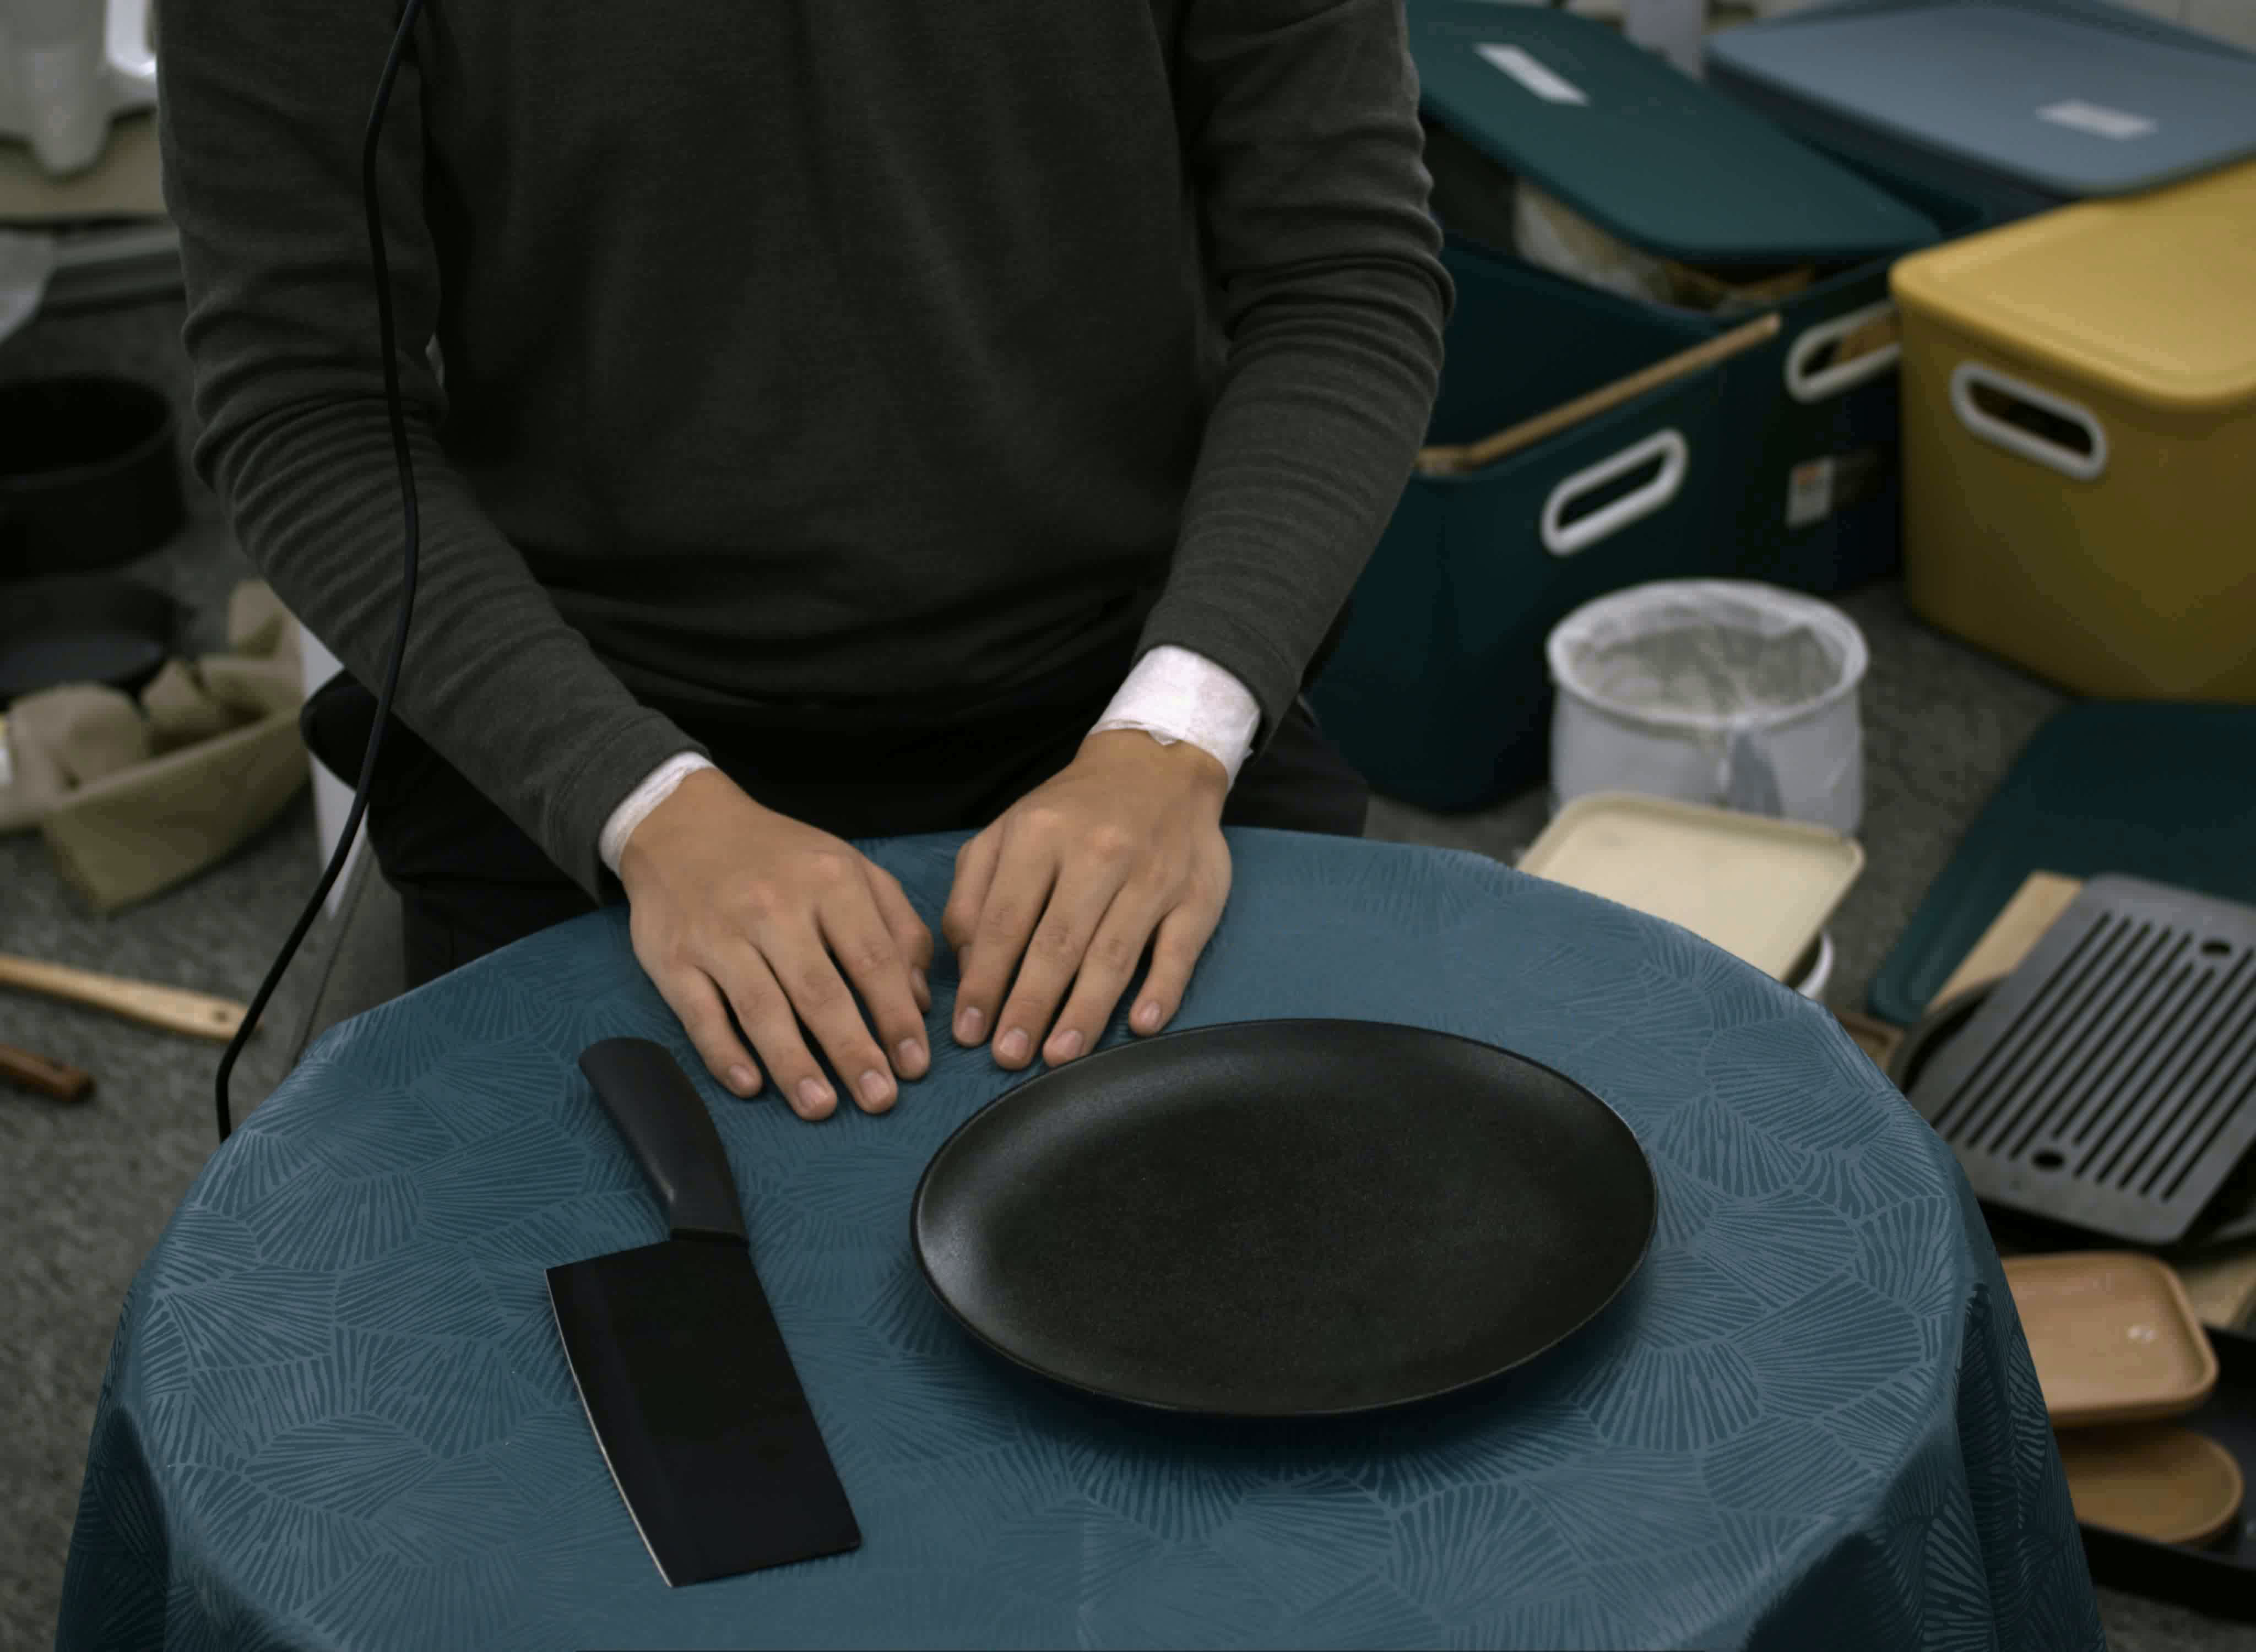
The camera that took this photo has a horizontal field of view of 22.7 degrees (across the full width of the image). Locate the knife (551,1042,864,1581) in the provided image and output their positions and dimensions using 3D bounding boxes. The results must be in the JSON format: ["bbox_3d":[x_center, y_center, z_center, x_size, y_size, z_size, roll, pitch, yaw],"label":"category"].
[{"bbox_3d":[-0.146,0.152,1.803,0.081,0.020,0.306,-8,29,-8],"label":"knife"}]

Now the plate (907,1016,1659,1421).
[{"bbox_3d":[0.050,0.131,1.814,0.243,0.023,0.248,-2,27,1],"label":"plate"}]
